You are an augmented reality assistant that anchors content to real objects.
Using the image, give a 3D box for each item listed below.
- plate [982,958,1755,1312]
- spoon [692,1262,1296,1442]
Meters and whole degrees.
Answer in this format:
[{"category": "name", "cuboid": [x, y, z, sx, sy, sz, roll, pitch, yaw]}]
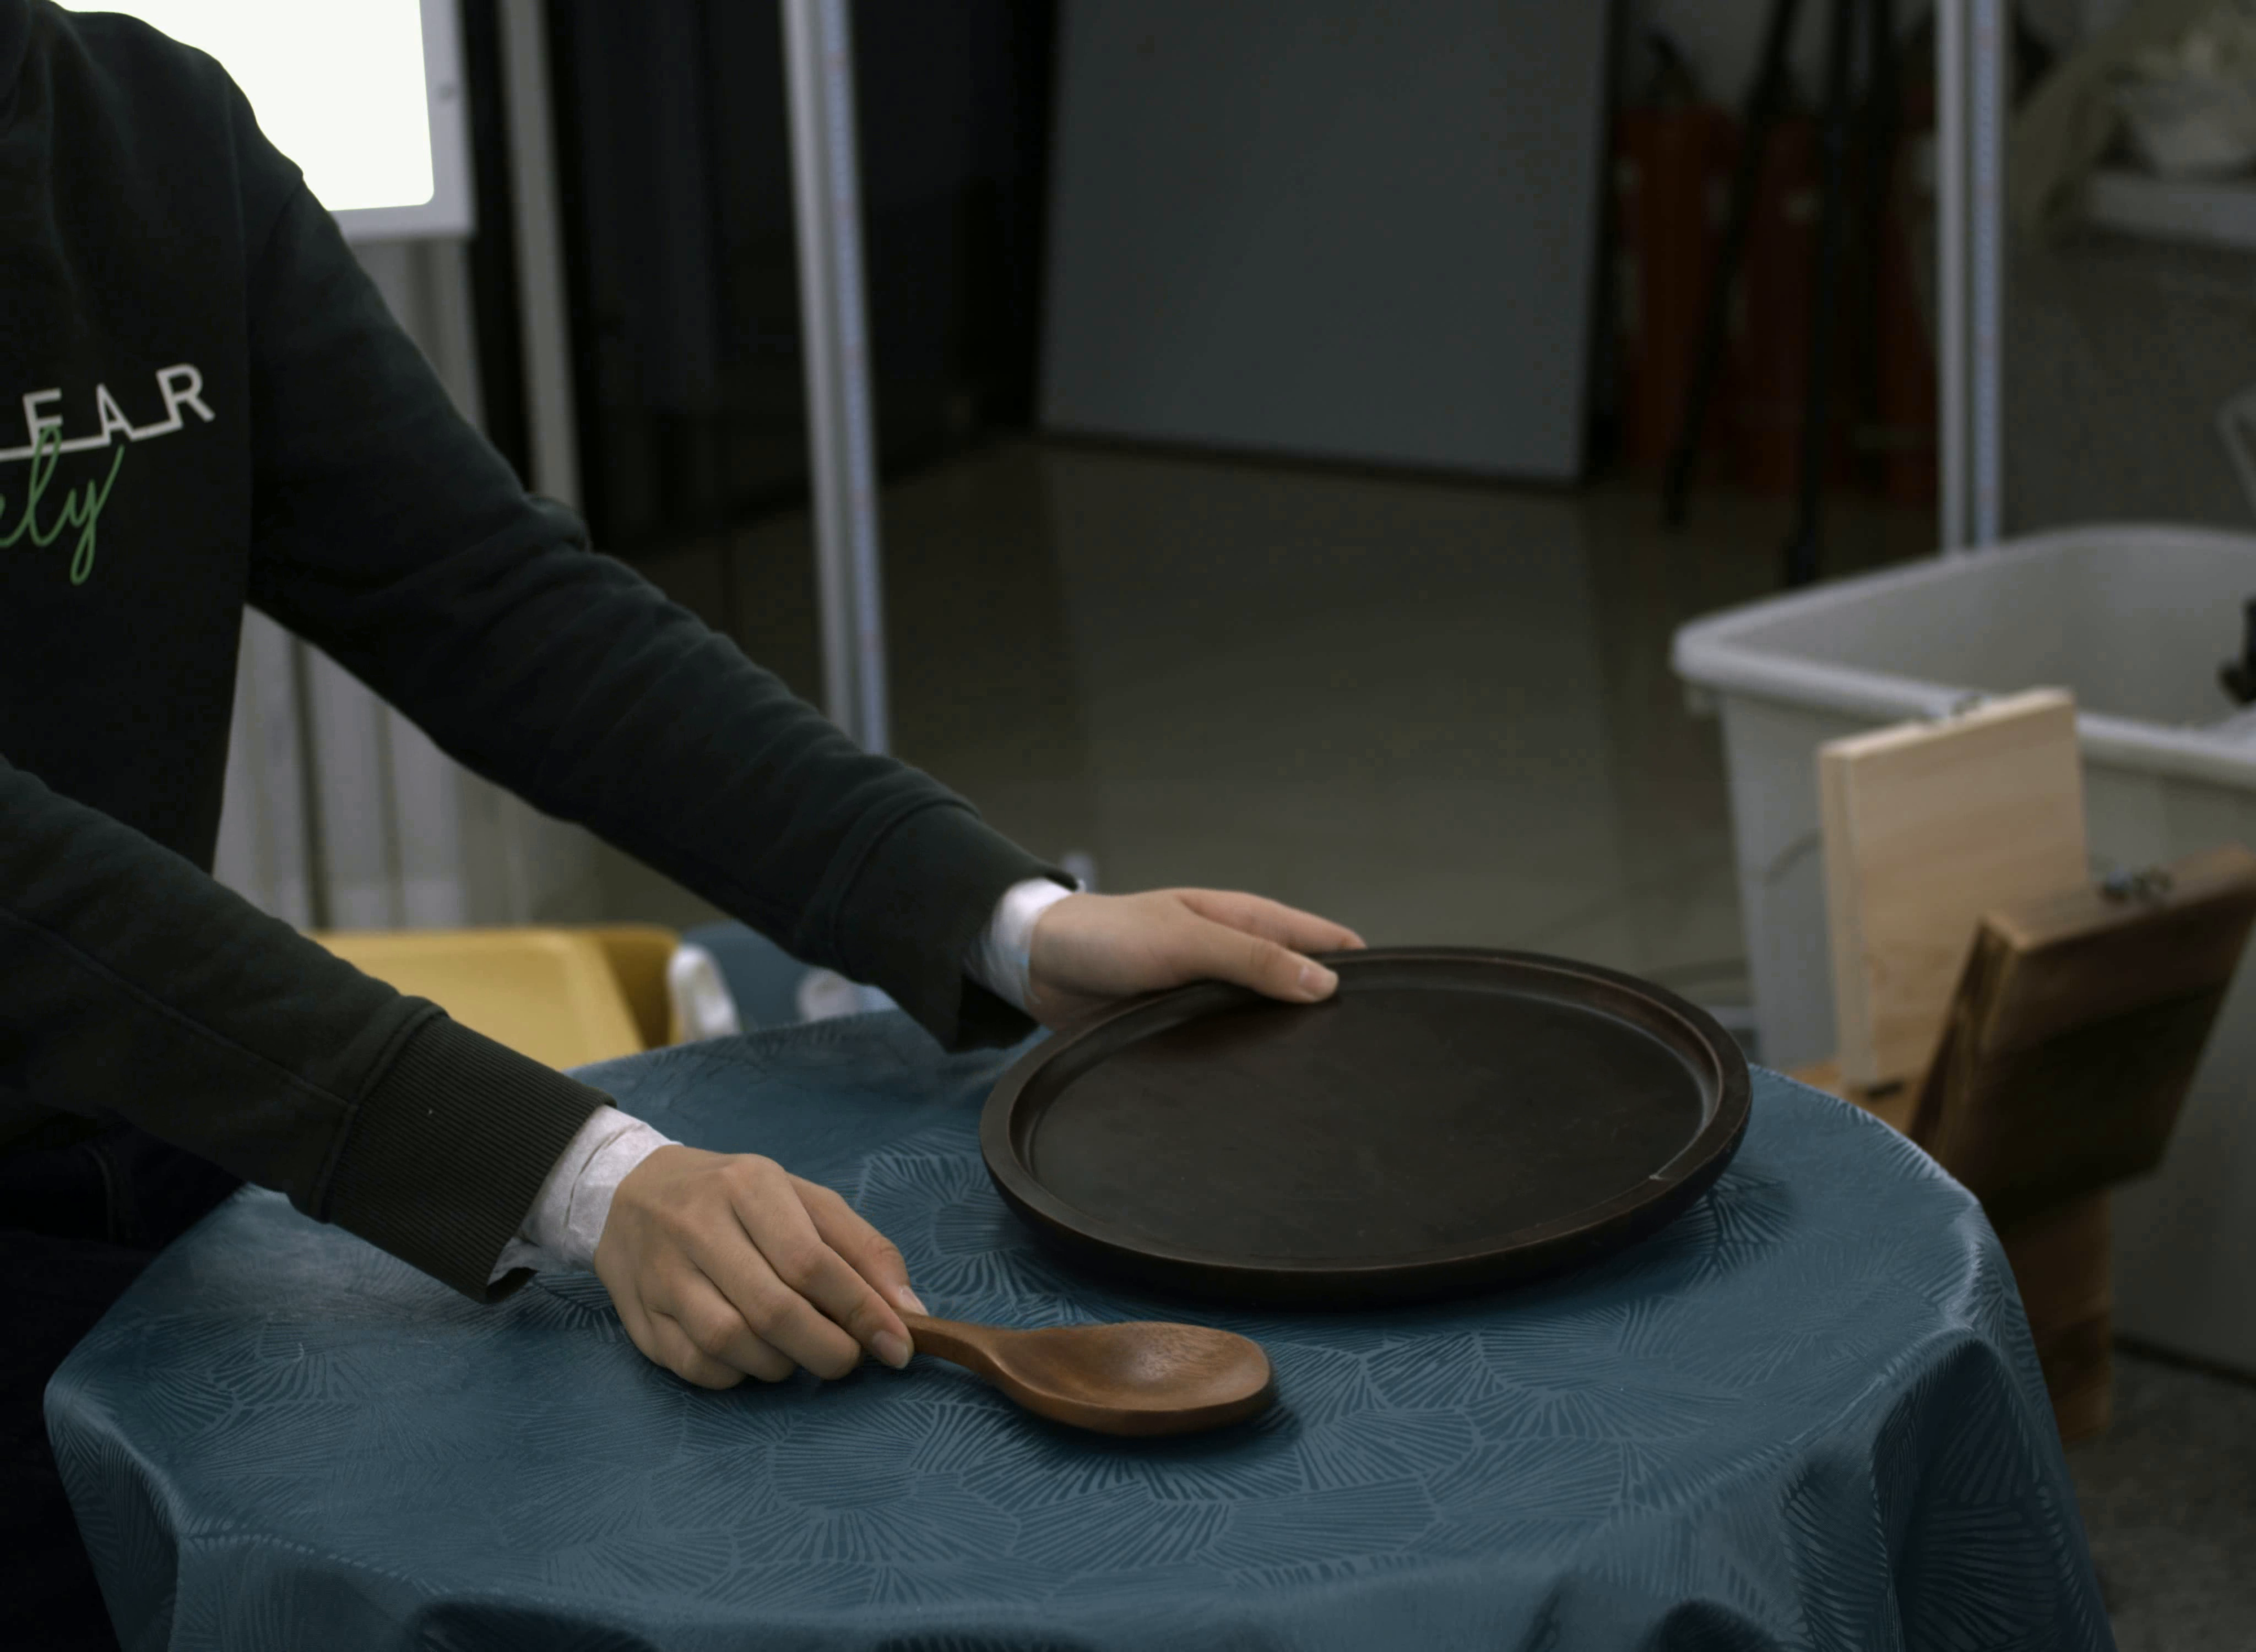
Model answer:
[{"category": "plate", "cuboid": [0.077, 0.097, 1.742, 0.251, 0.029, 0.255, -5, 21, 1]}, {"category": "spoon", "cuboid": [-0.044, 0.155, 1.602, 0.217, 0.017, 0.074, 9, 19, 36]}]
